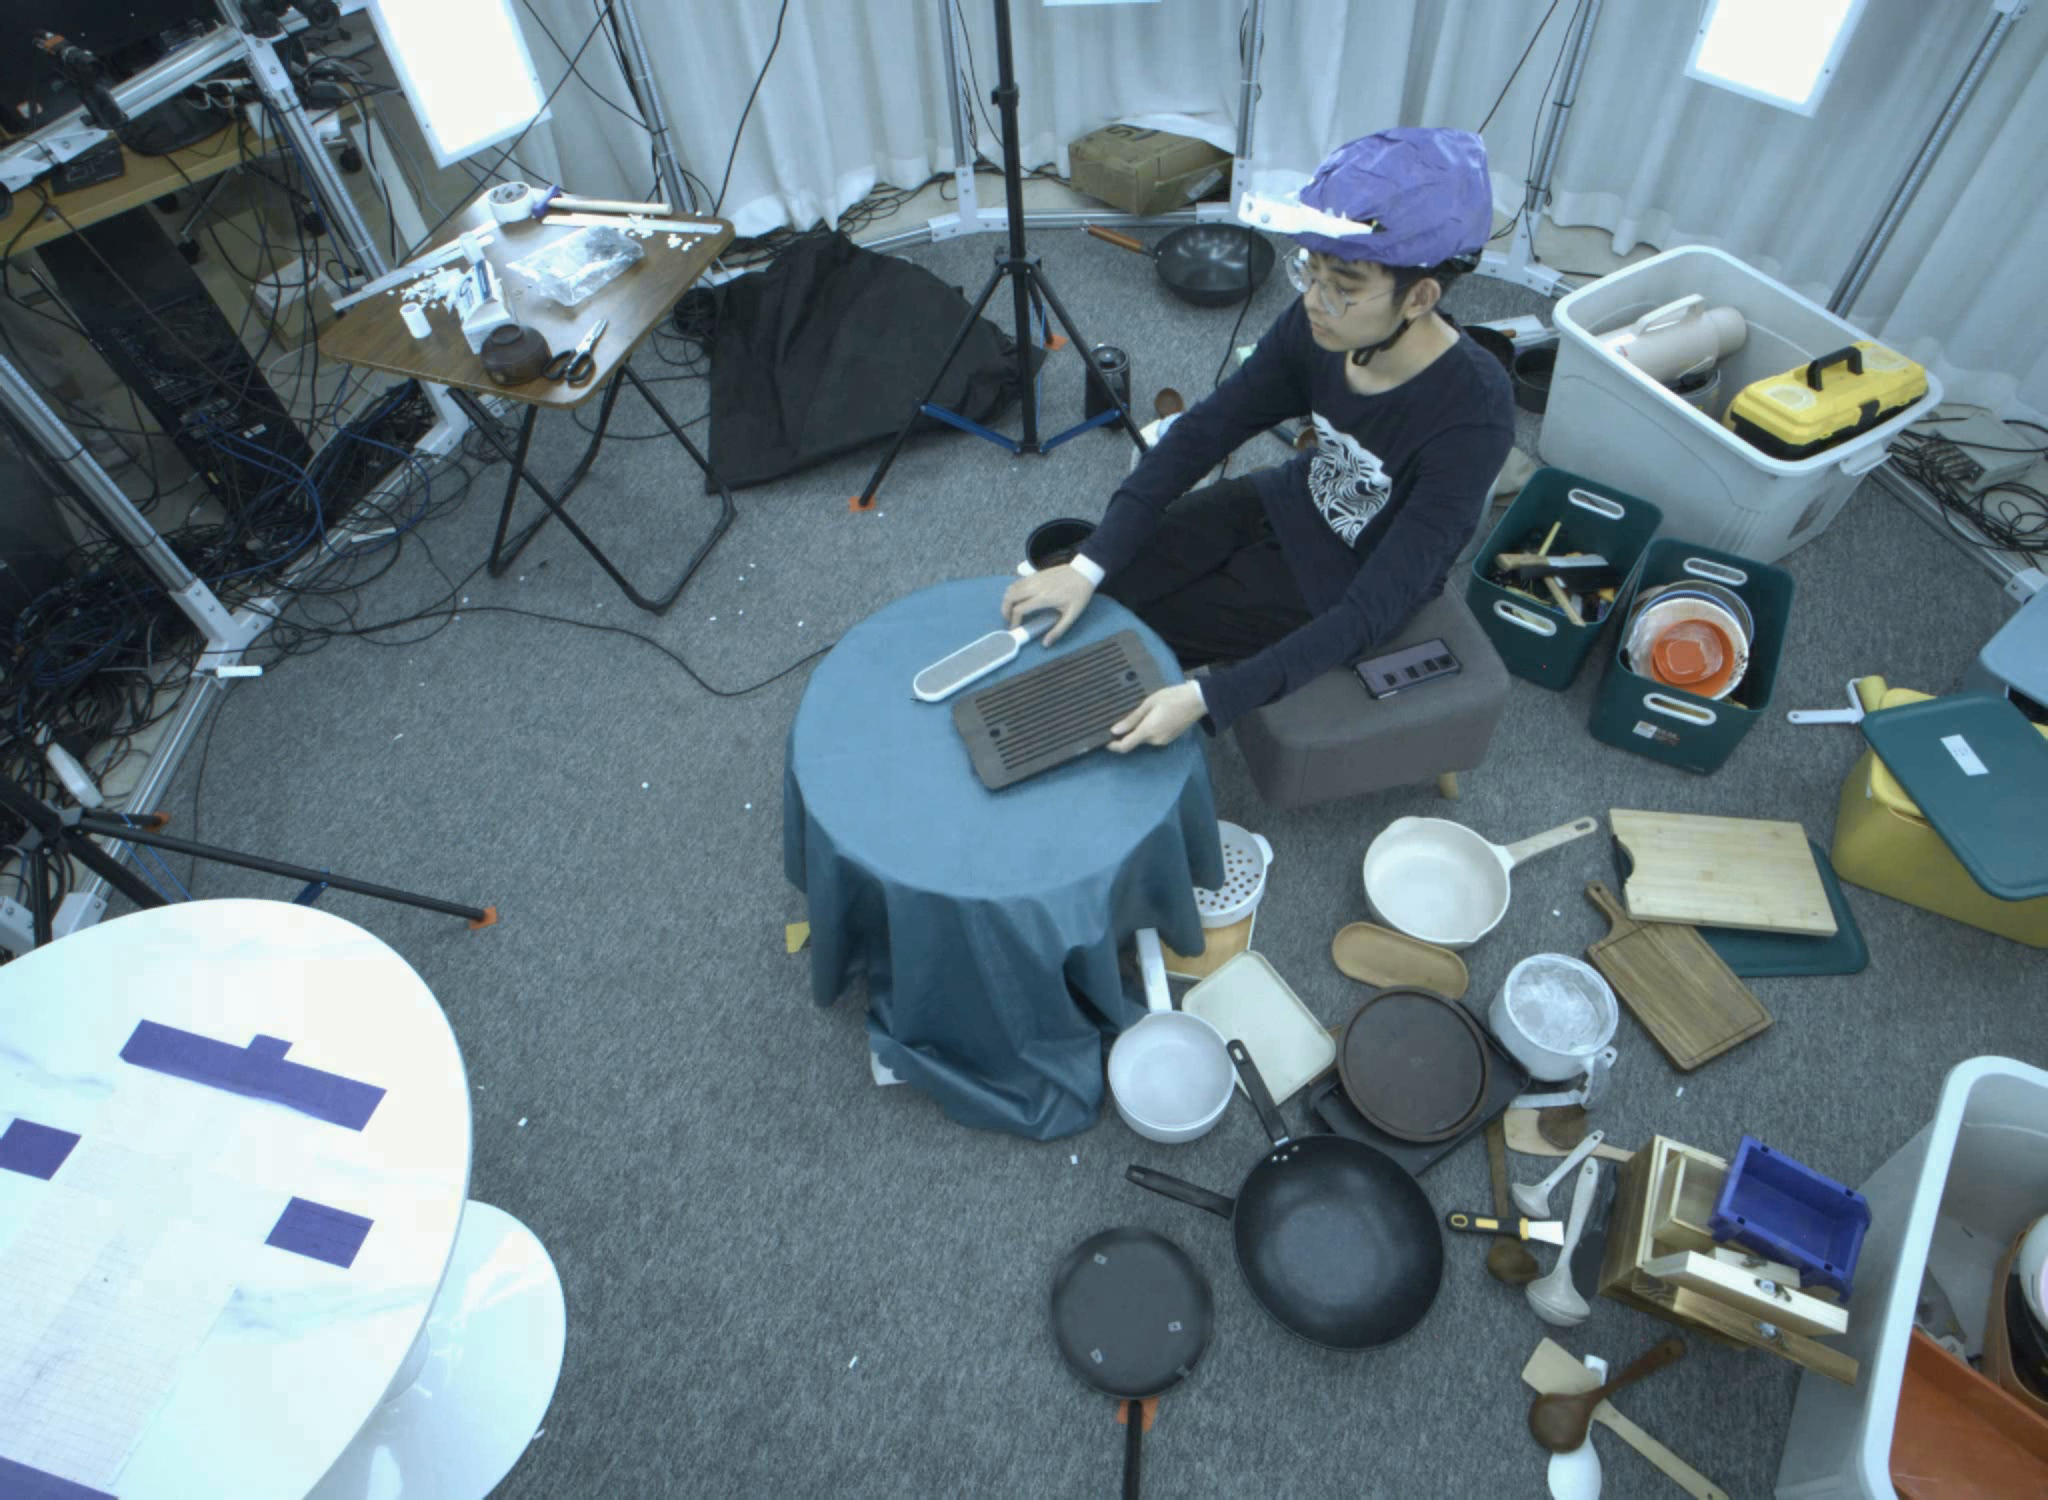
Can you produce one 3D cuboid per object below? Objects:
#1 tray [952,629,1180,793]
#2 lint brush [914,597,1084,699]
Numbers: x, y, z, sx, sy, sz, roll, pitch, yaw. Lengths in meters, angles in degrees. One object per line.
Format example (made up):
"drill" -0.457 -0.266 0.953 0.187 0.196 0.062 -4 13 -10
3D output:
"tray" 0.060 -0.058 1.802 0.307 0.019 0.167 -23 59 -7
"lint brush" -0.035 -0.160 1.894 0.311 0.021 0.059 -30 54 -19
